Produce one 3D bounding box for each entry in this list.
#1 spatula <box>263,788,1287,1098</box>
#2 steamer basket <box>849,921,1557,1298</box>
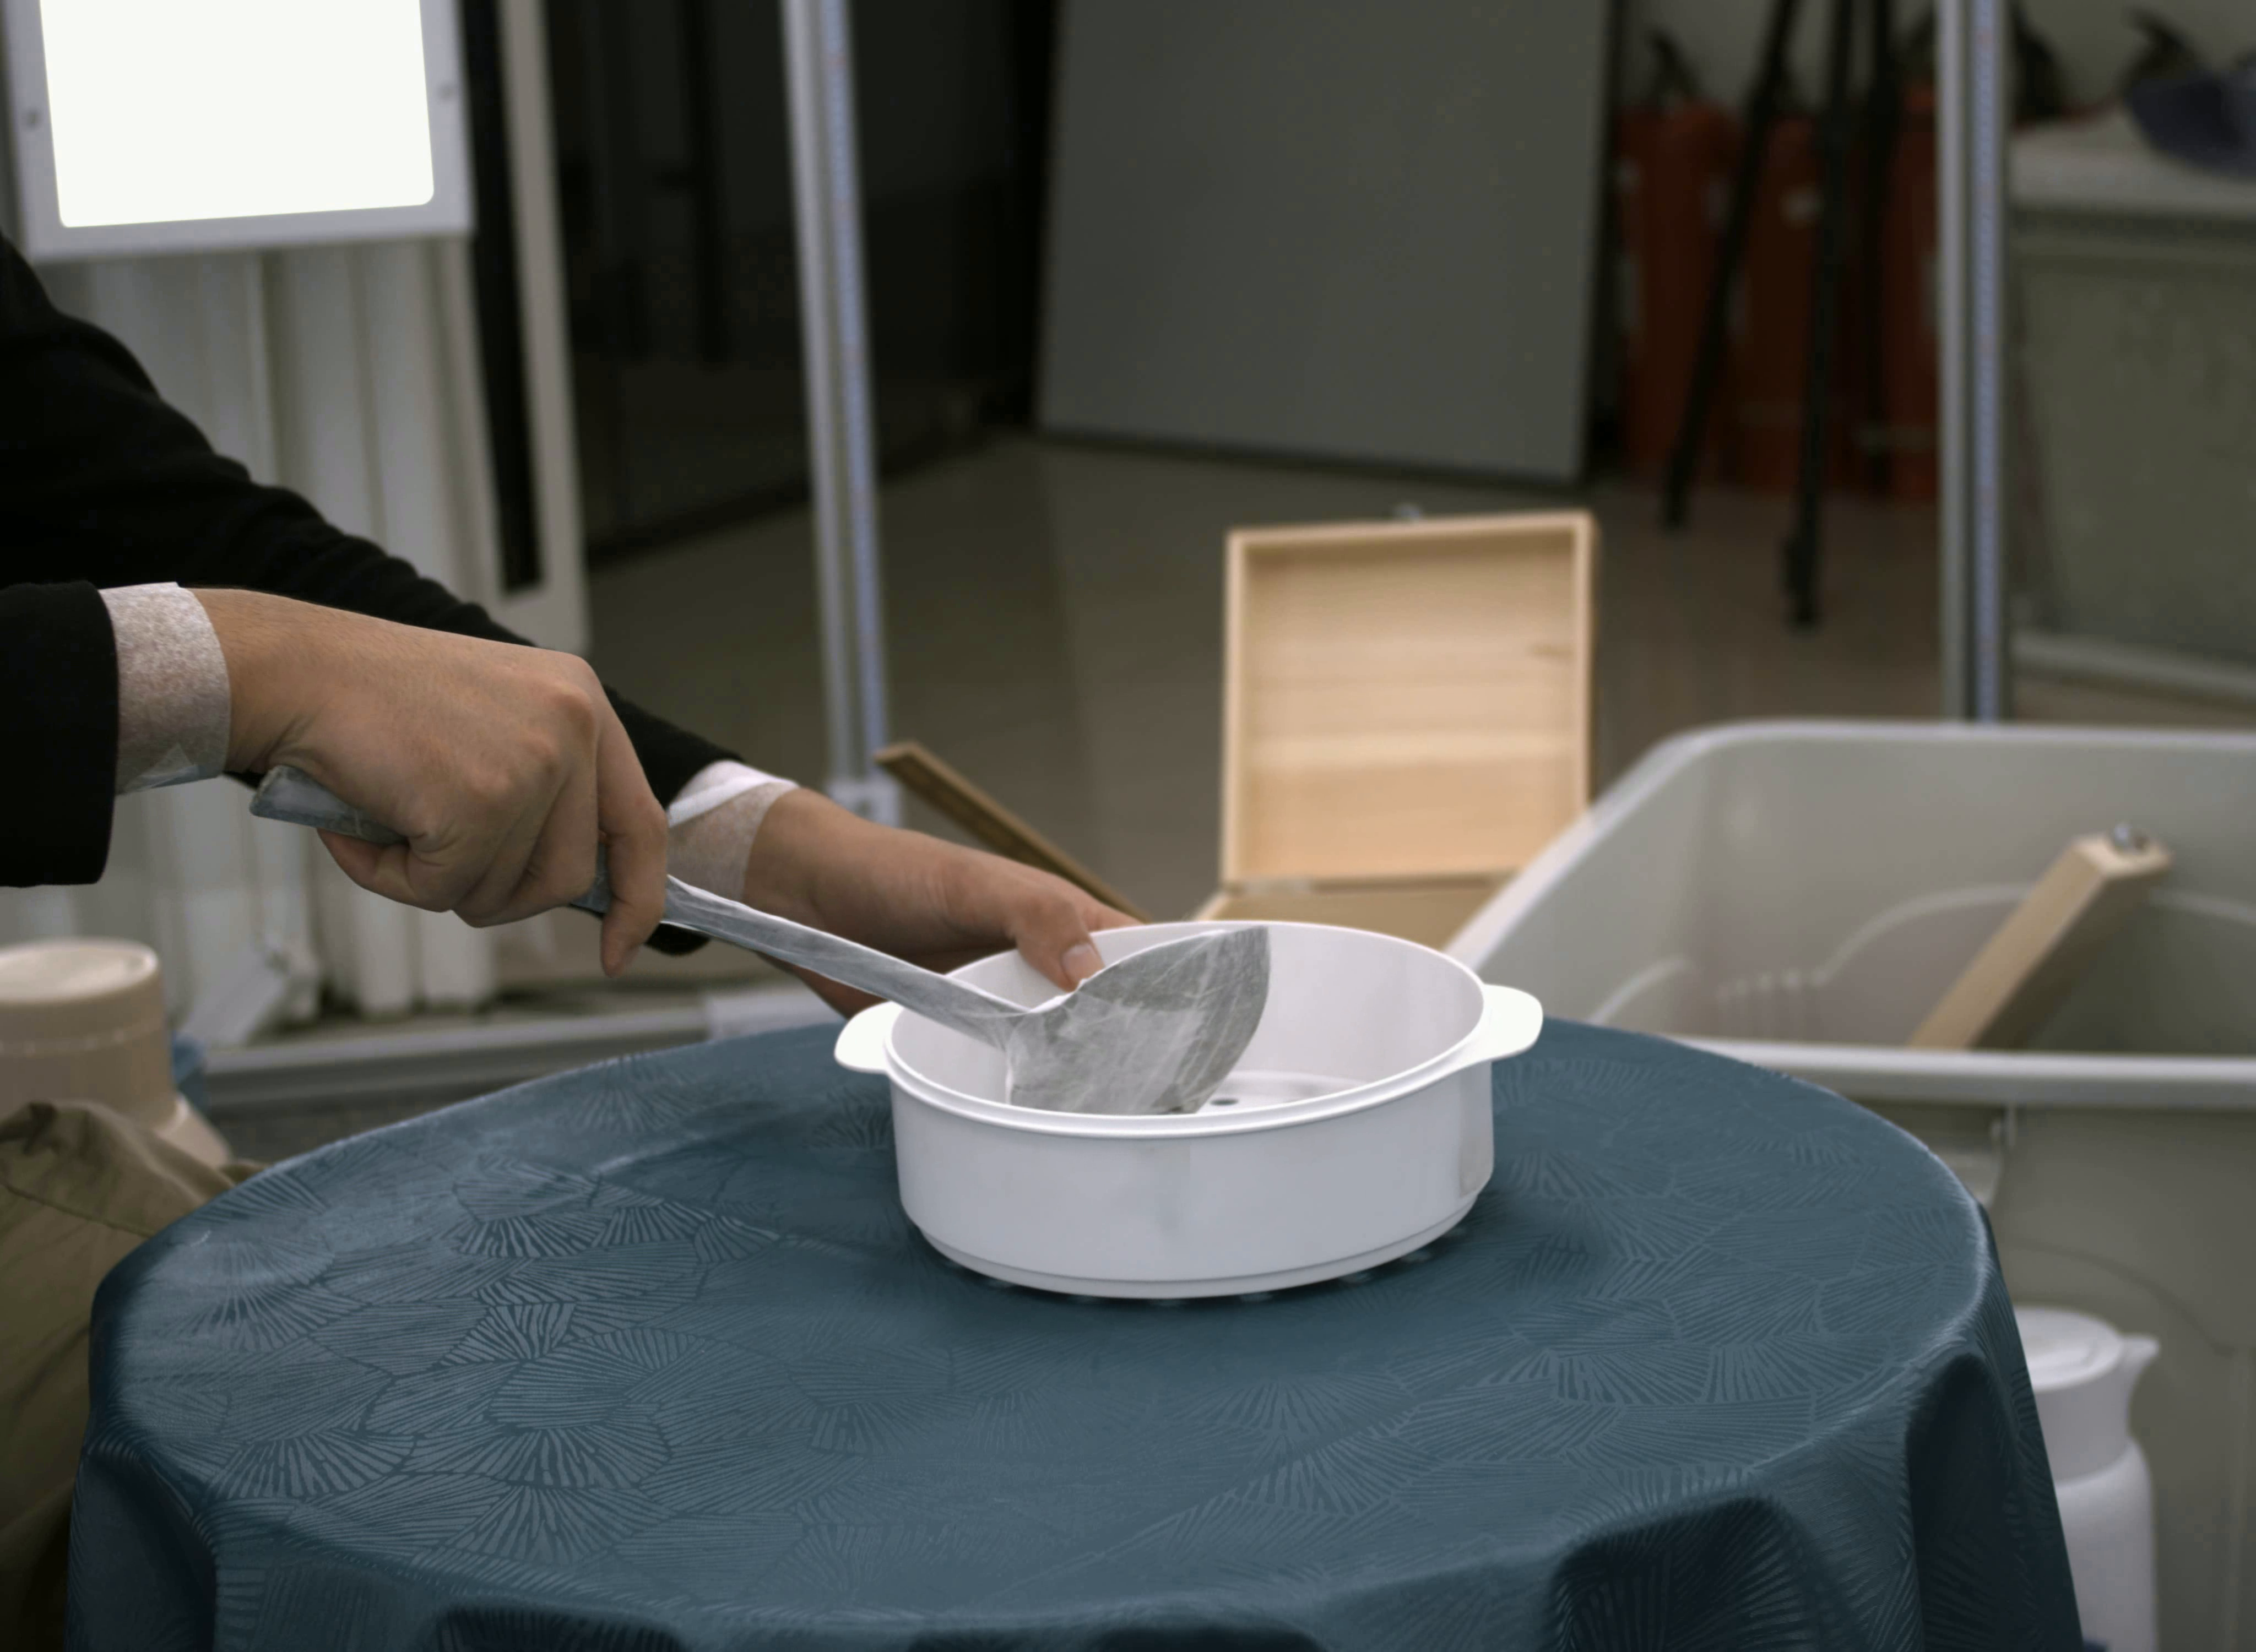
[{"bbox_3d":[-0.103,0.035,1.657,0.357,0.099,0.045,19,25,-29],"label":"spatula"},{"bbox_3d":[0.026,0.090,1.731,0.229,0.070,0.201,-2,15,10],"label":"steamer basket"}]
